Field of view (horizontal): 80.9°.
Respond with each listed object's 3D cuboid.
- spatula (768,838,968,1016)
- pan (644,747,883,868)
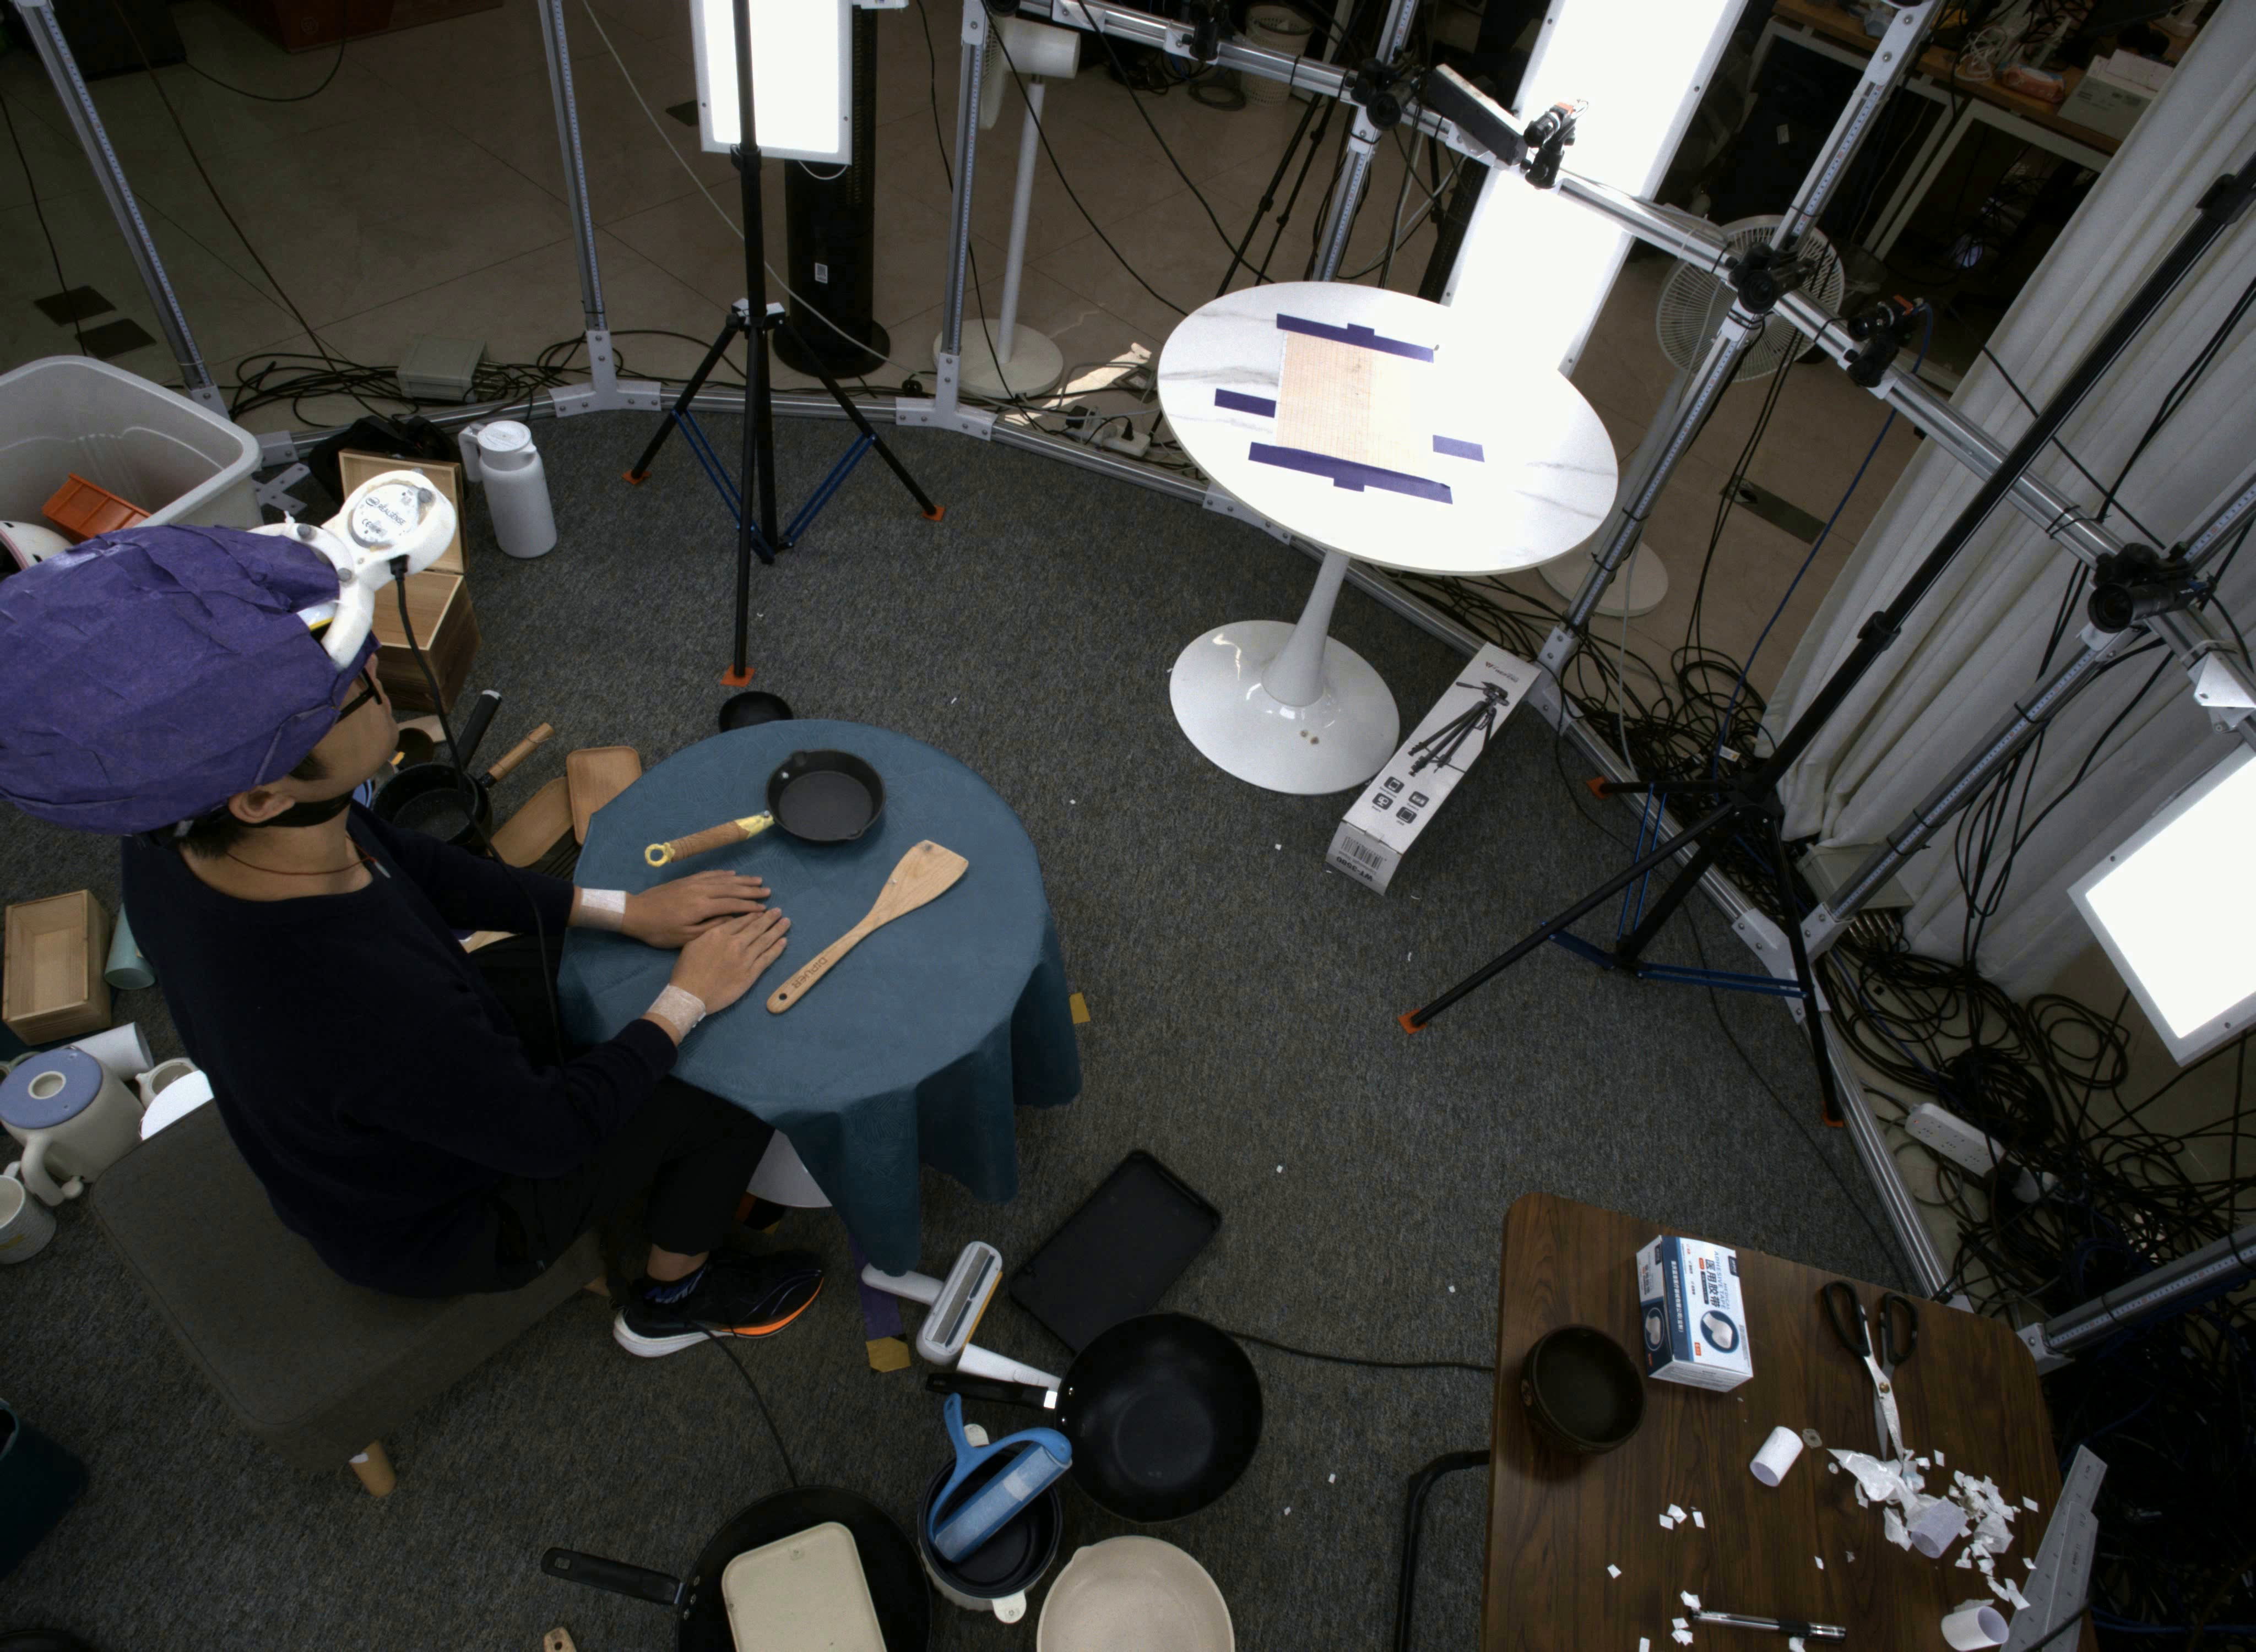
[{"bbox_3d":[-0.332,0.123,1.636,0.078,0.017,0.327,35,53,13],"label":"spatula"},{"bbox_3d":[-0.471,-0.010,1.676,0.326,0.050,0.165,-23,63,-30],"label":"pan"}]
